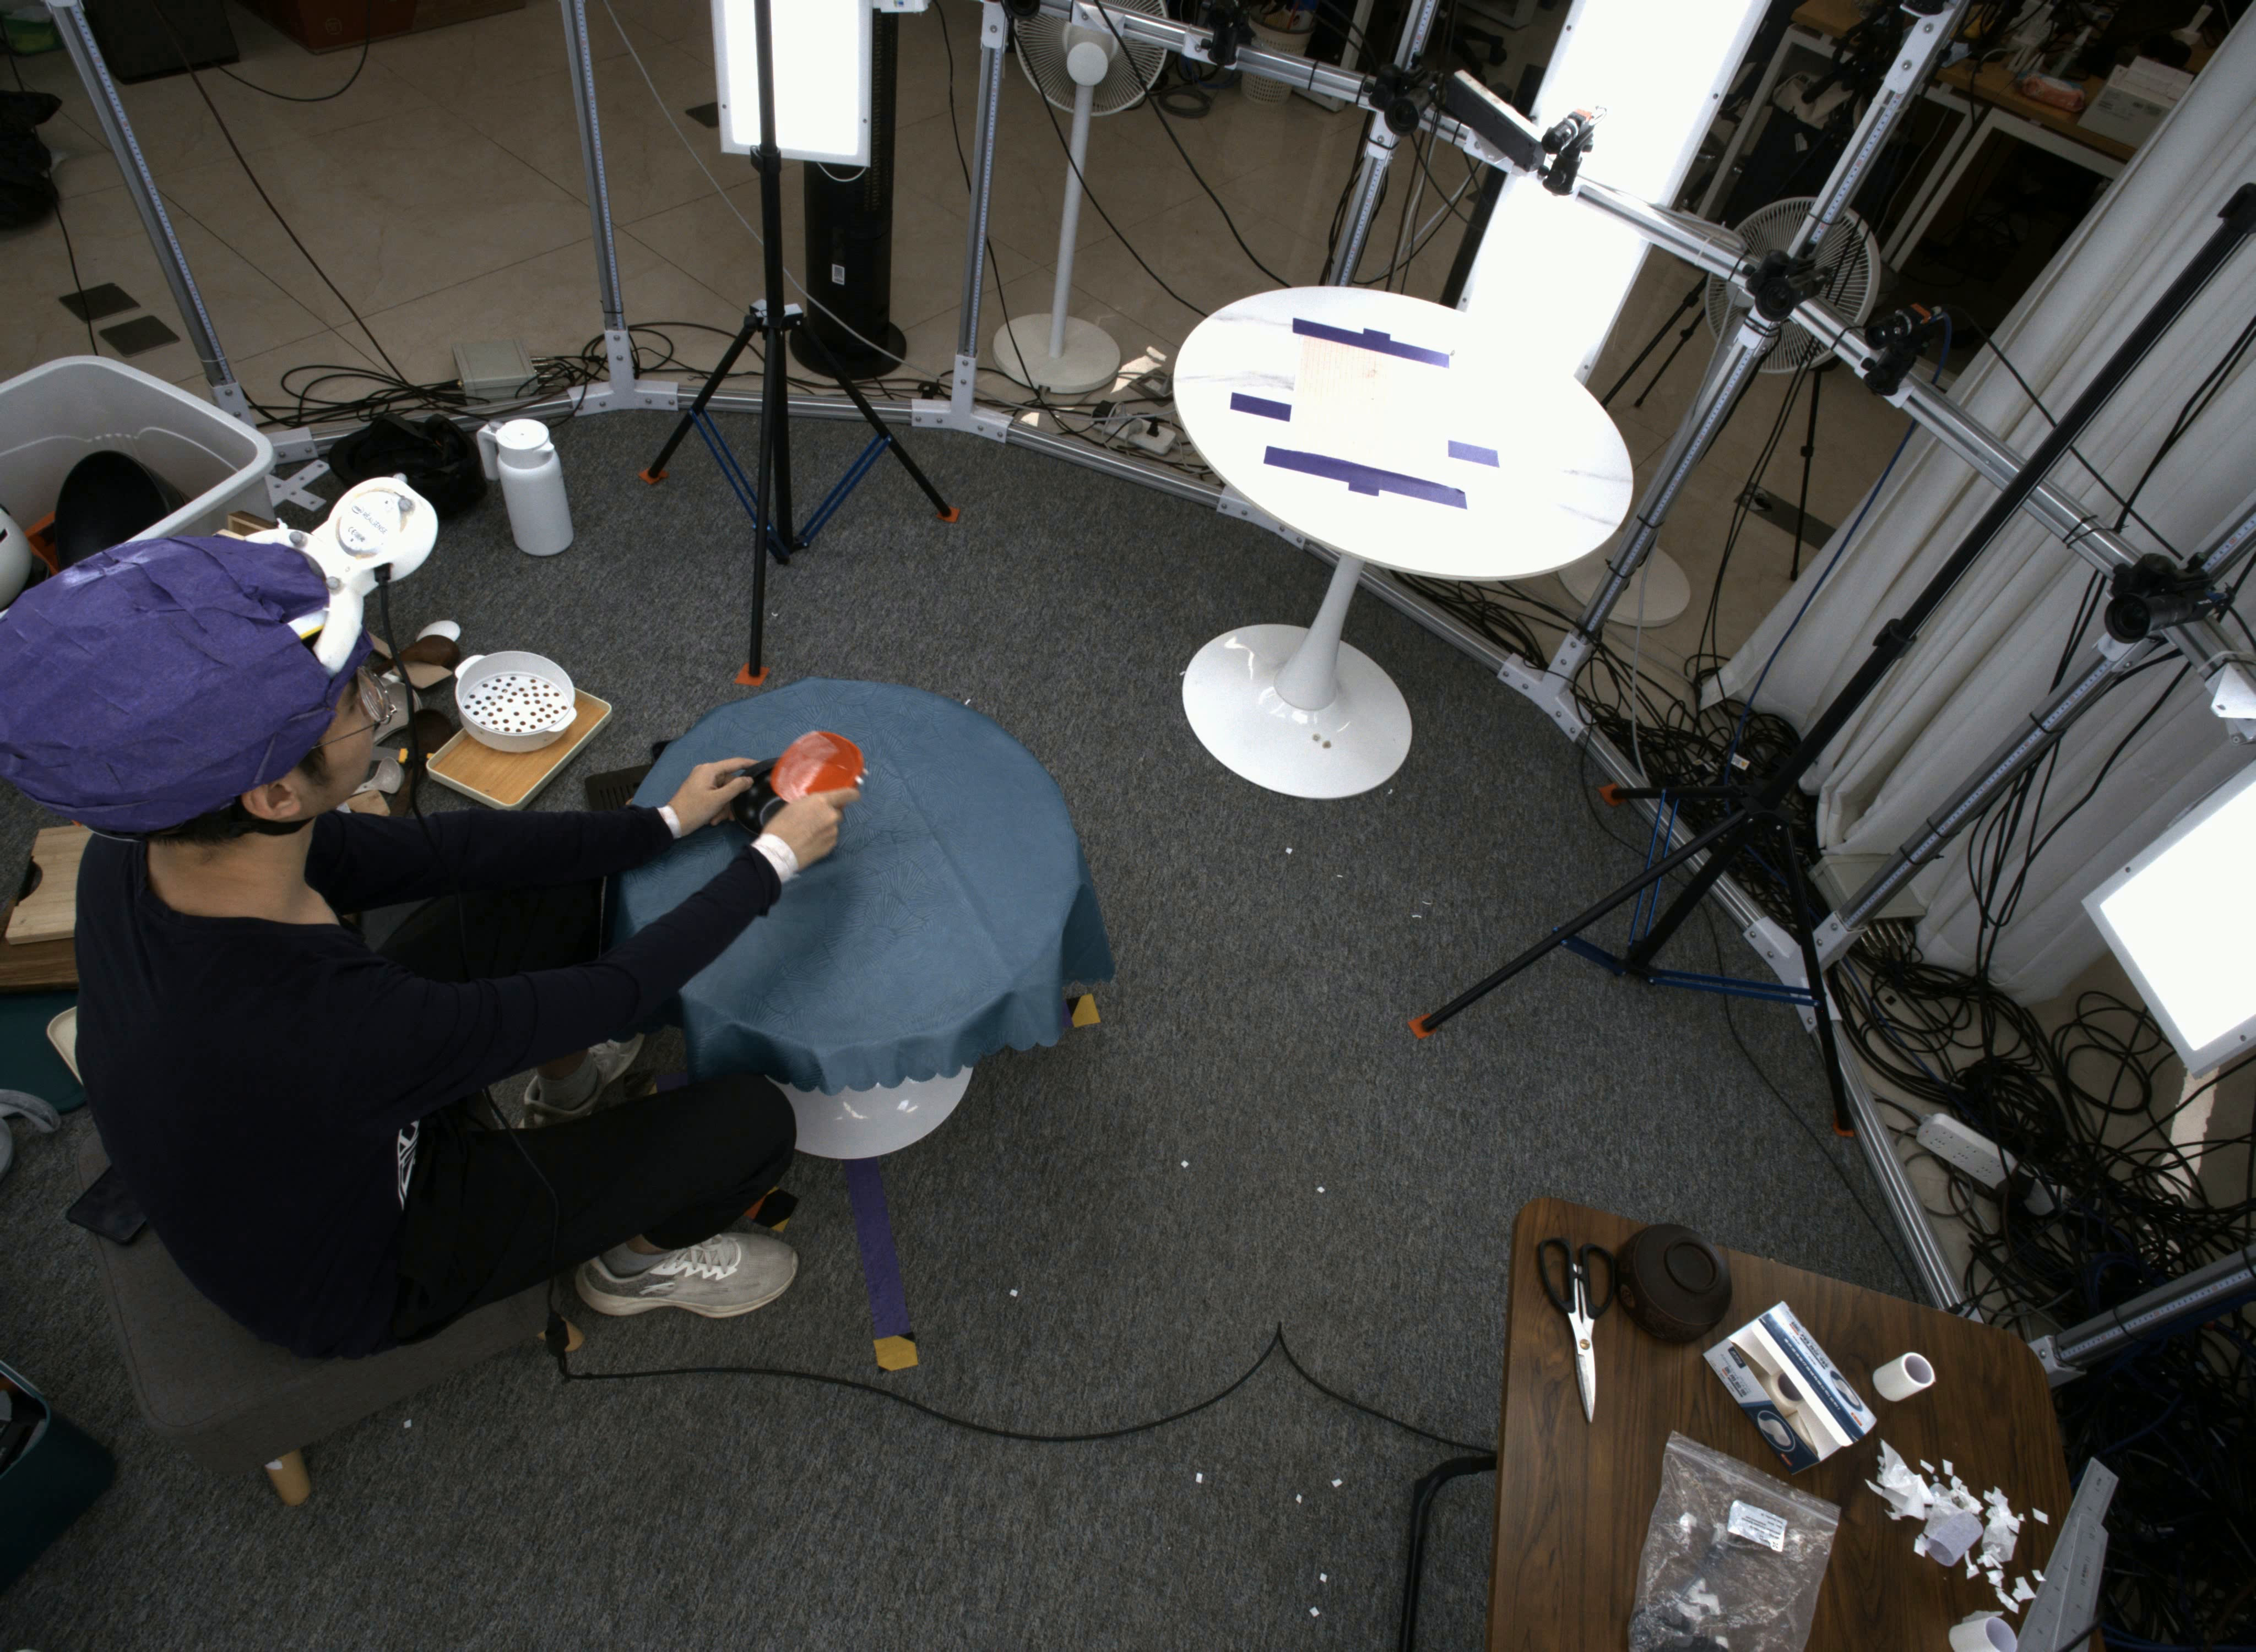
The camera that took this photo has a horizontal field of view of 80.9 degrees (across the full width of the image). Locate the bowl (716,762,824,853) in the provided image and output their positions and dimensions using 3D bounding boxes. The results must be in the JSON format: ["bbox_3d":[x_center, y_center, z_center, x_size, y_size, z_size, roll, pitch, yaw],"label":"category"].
[{"bbox_3d":[-0.470,-0.019,1.708,0.139,0.051,0.138,5,56,-6],"label":"bowl"}]

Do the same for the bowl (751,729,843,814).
[{"bbox_3d":[-0.409,-0.061,1.628,0.117,0.053,0.117,-3,58,6],"label":"bowl"}]
